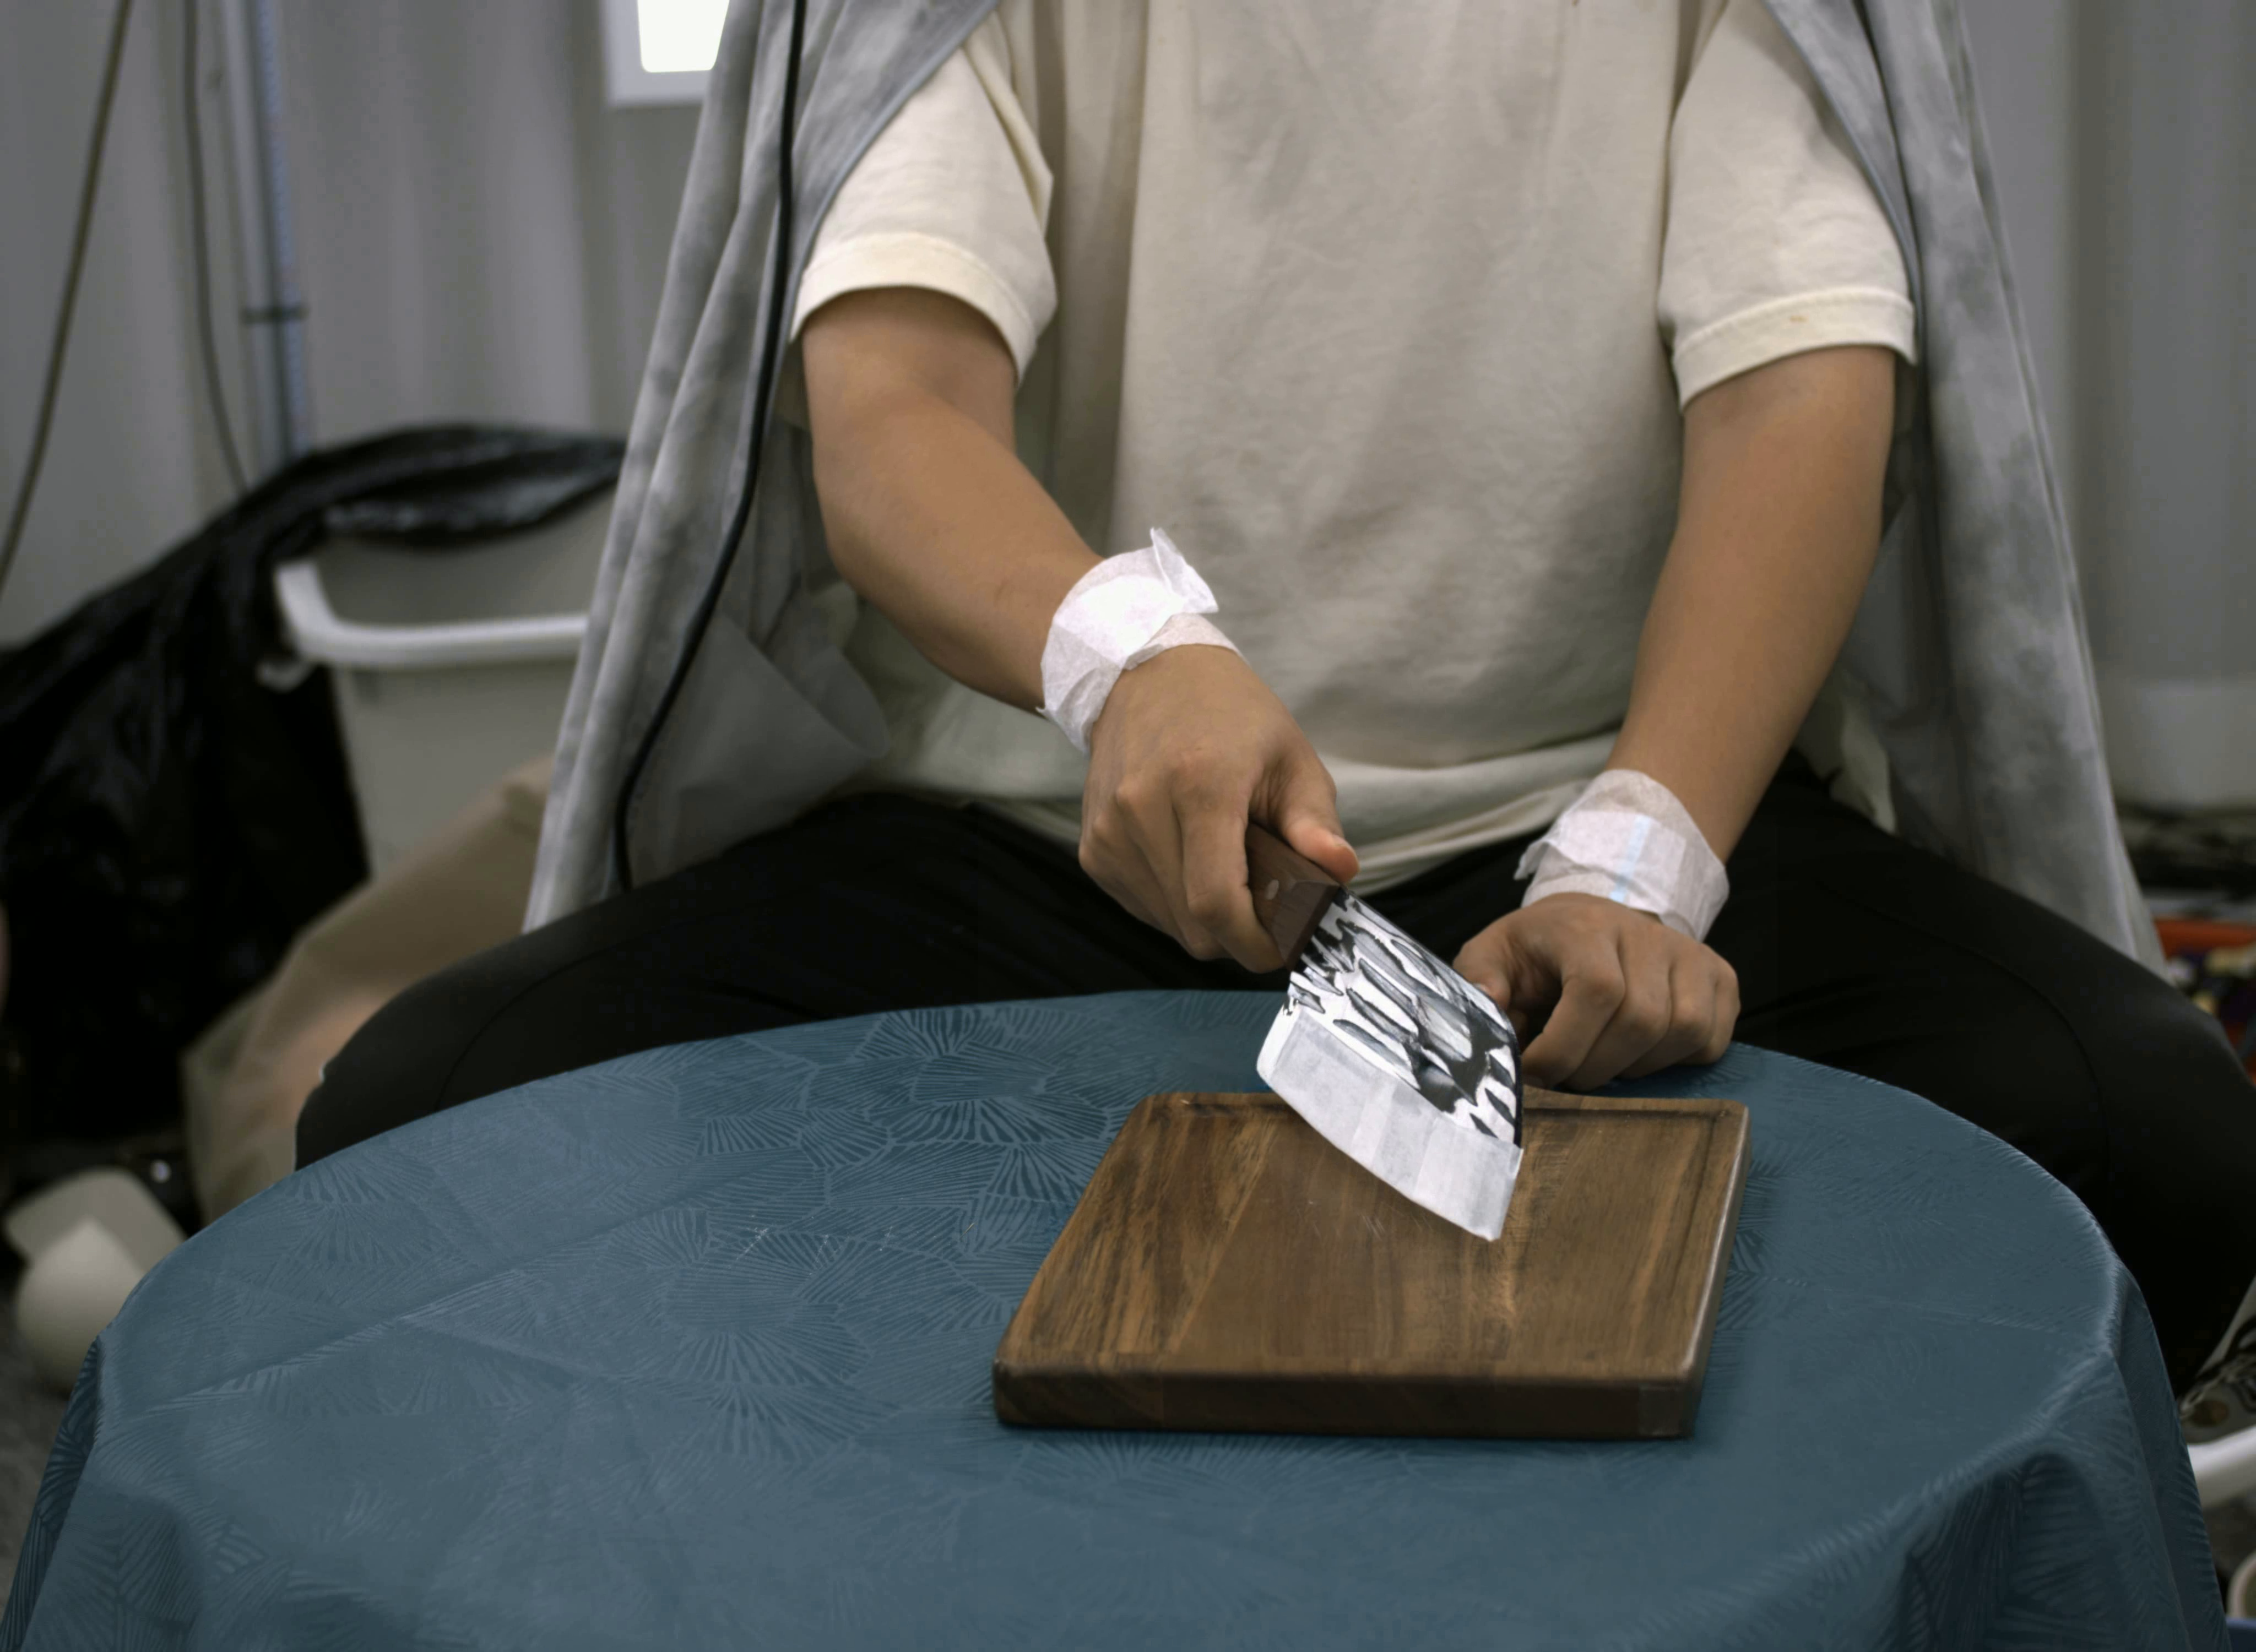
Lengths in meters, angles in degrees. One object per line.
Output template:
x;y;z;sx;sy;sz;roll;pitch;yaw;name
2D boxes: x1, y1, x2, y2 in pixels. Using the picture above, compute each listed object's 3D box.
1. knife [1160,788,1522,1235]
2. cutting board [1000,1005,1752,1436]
0.063;0.055;1.711;0.024;0.068;0.302;22;8;-26;knife
0.088;0.113;1.668;0.201;0.023;0.354;0;15;11;cutting board
